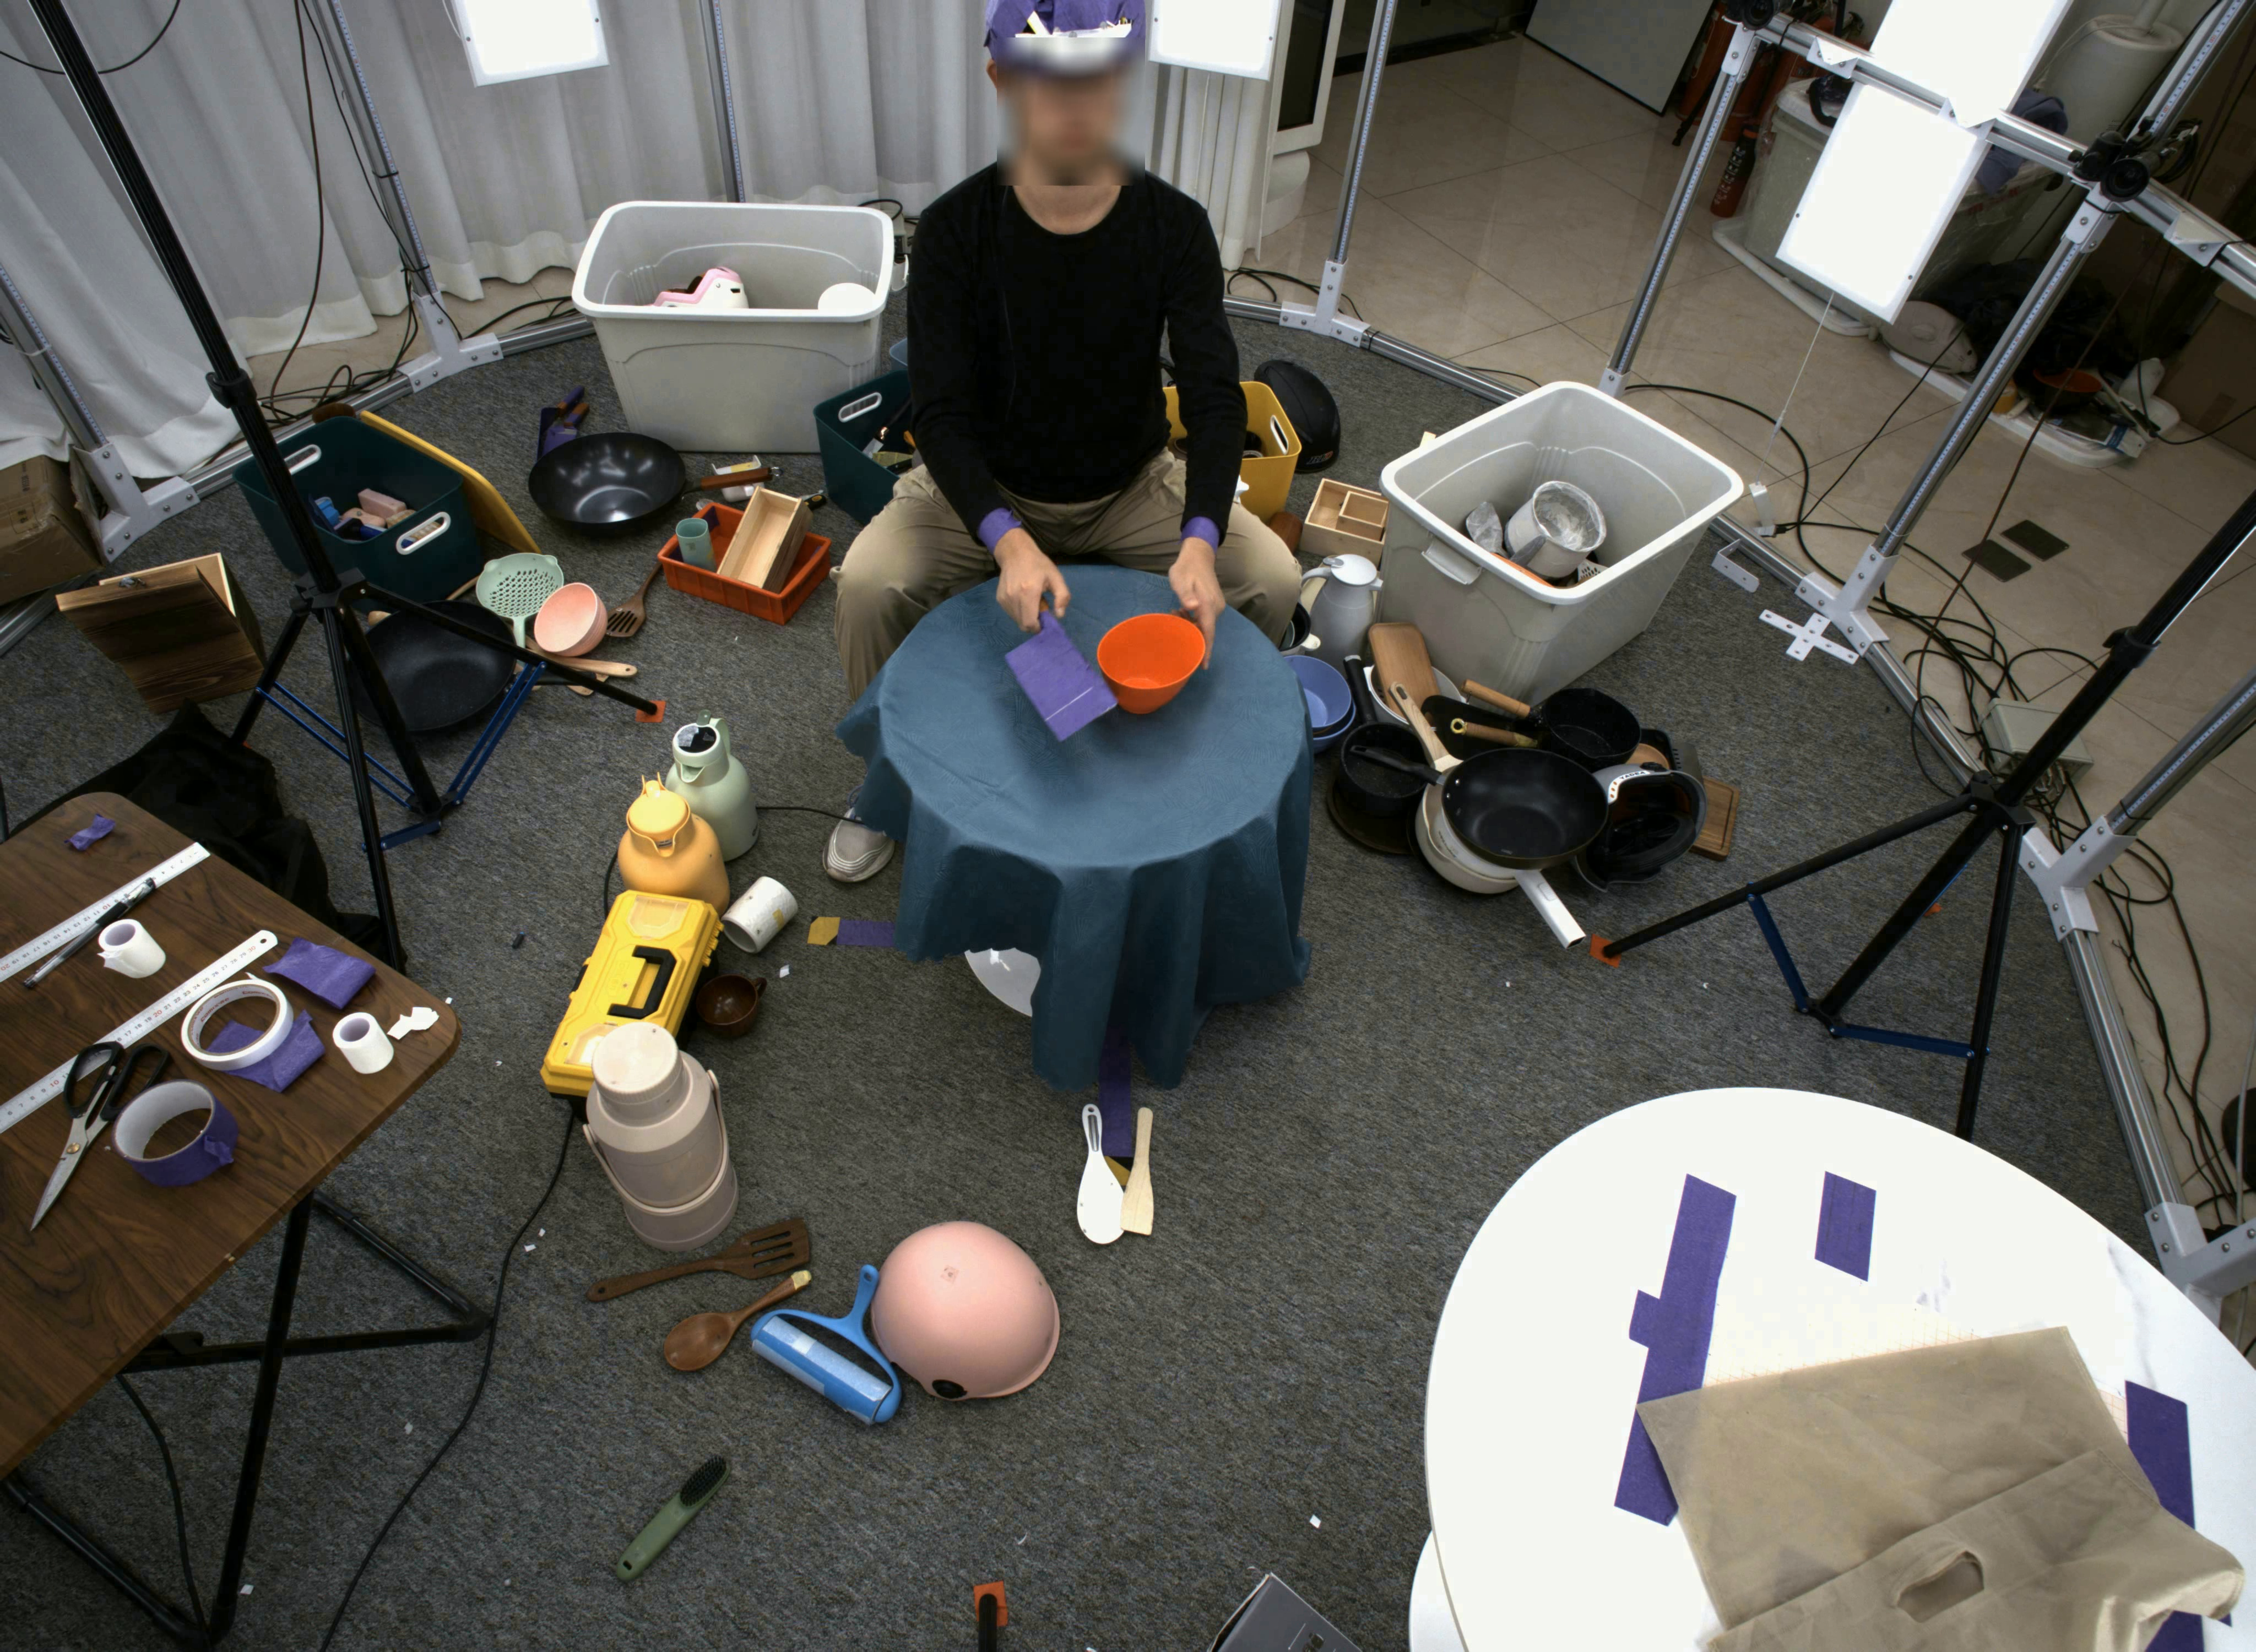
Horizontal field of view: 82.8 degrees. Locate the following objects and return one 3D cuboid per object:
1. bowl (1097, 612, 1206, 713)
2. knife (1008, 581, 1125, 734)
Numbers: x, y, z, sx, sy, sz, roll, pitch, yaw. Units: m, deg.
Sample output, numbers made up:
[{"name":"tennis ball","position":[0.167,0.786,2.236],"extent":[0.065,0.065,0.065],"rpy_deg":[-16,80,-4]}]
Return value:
[{"name":"bowl","position":[0.028,-0.216,1.790],"extent":[0.148,0.102,0.151],"rpy_deg":[3,52,-4]},{"name":"knife","position":[-0.111,-0.236,1.760],"extent":[0.104,0.031,0.322],"rpy_deg":[-33,45,-2]}]
